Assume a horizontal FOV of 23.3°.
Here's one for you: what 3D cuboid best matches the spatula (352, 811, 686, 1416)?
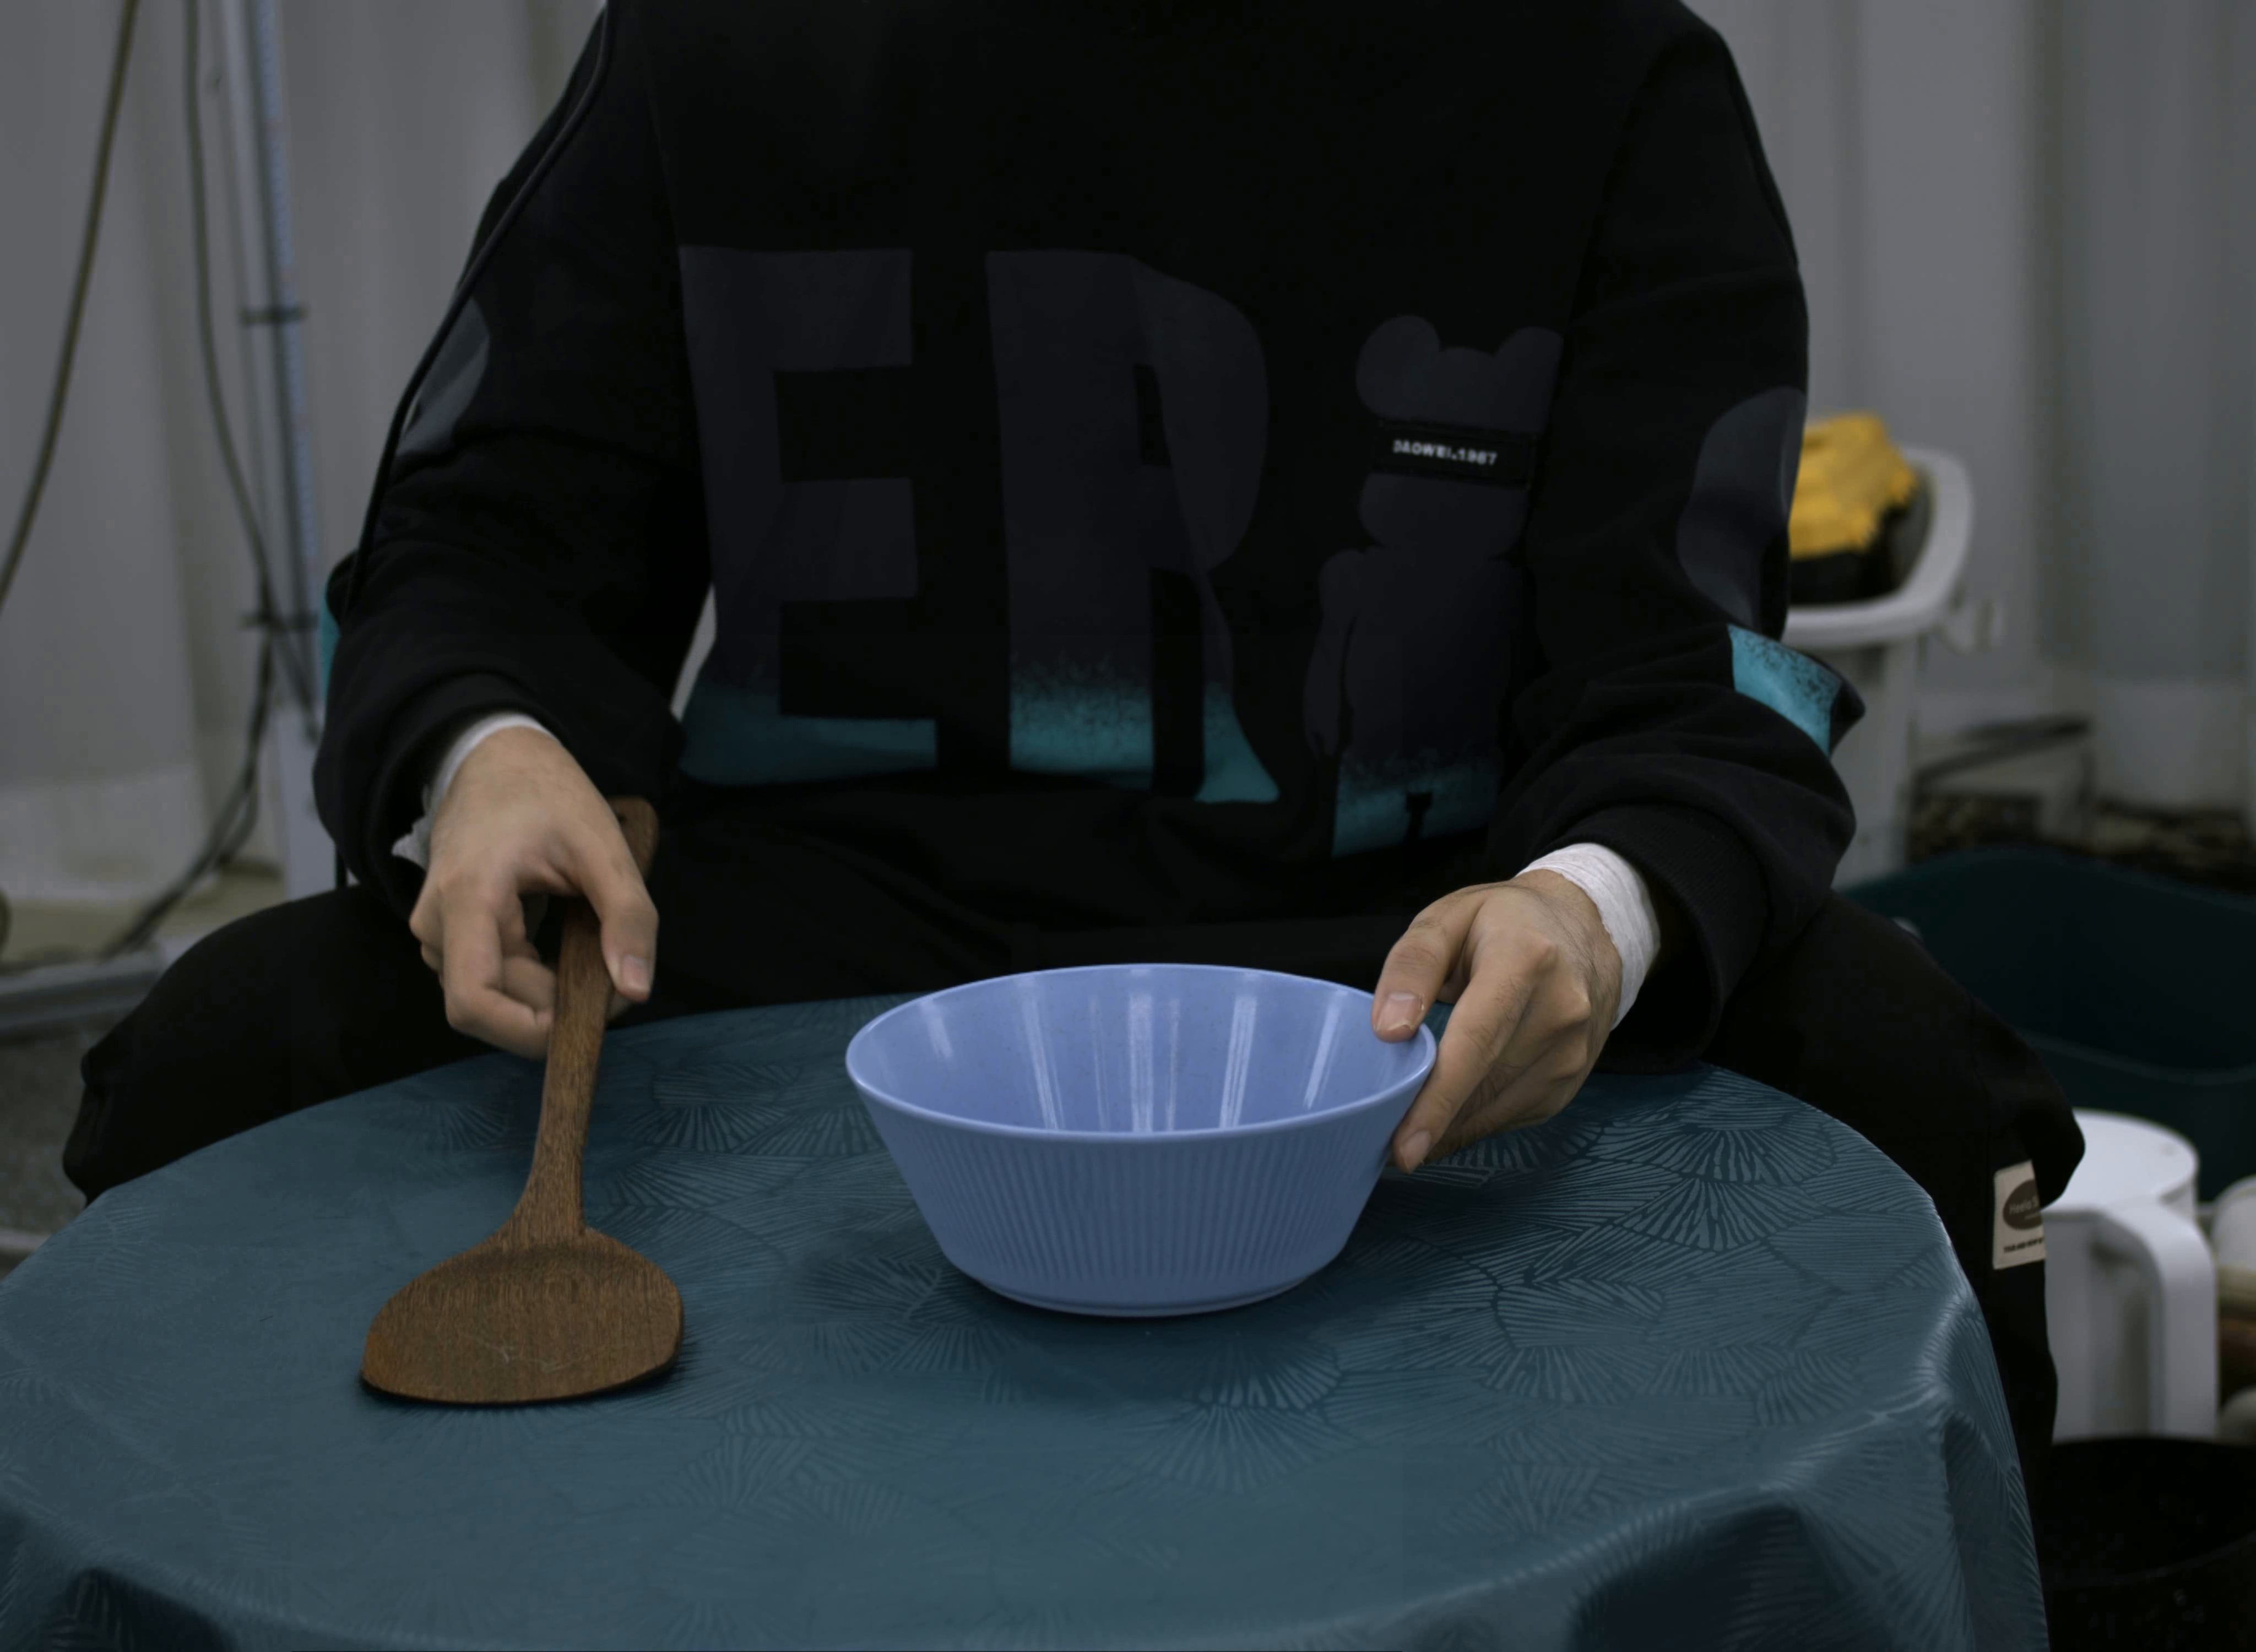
[{"bbox_3d":[-0.176,0.081,1.729,0.096,0.015,0.390,-4,27,2],"label":"spatula"}]

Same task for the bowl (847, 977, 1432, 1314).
[{"bbox_3d":[0.003,0.098,1.638,0.175,0.070,0.177,0,13,0],"label":"bowl"}]
